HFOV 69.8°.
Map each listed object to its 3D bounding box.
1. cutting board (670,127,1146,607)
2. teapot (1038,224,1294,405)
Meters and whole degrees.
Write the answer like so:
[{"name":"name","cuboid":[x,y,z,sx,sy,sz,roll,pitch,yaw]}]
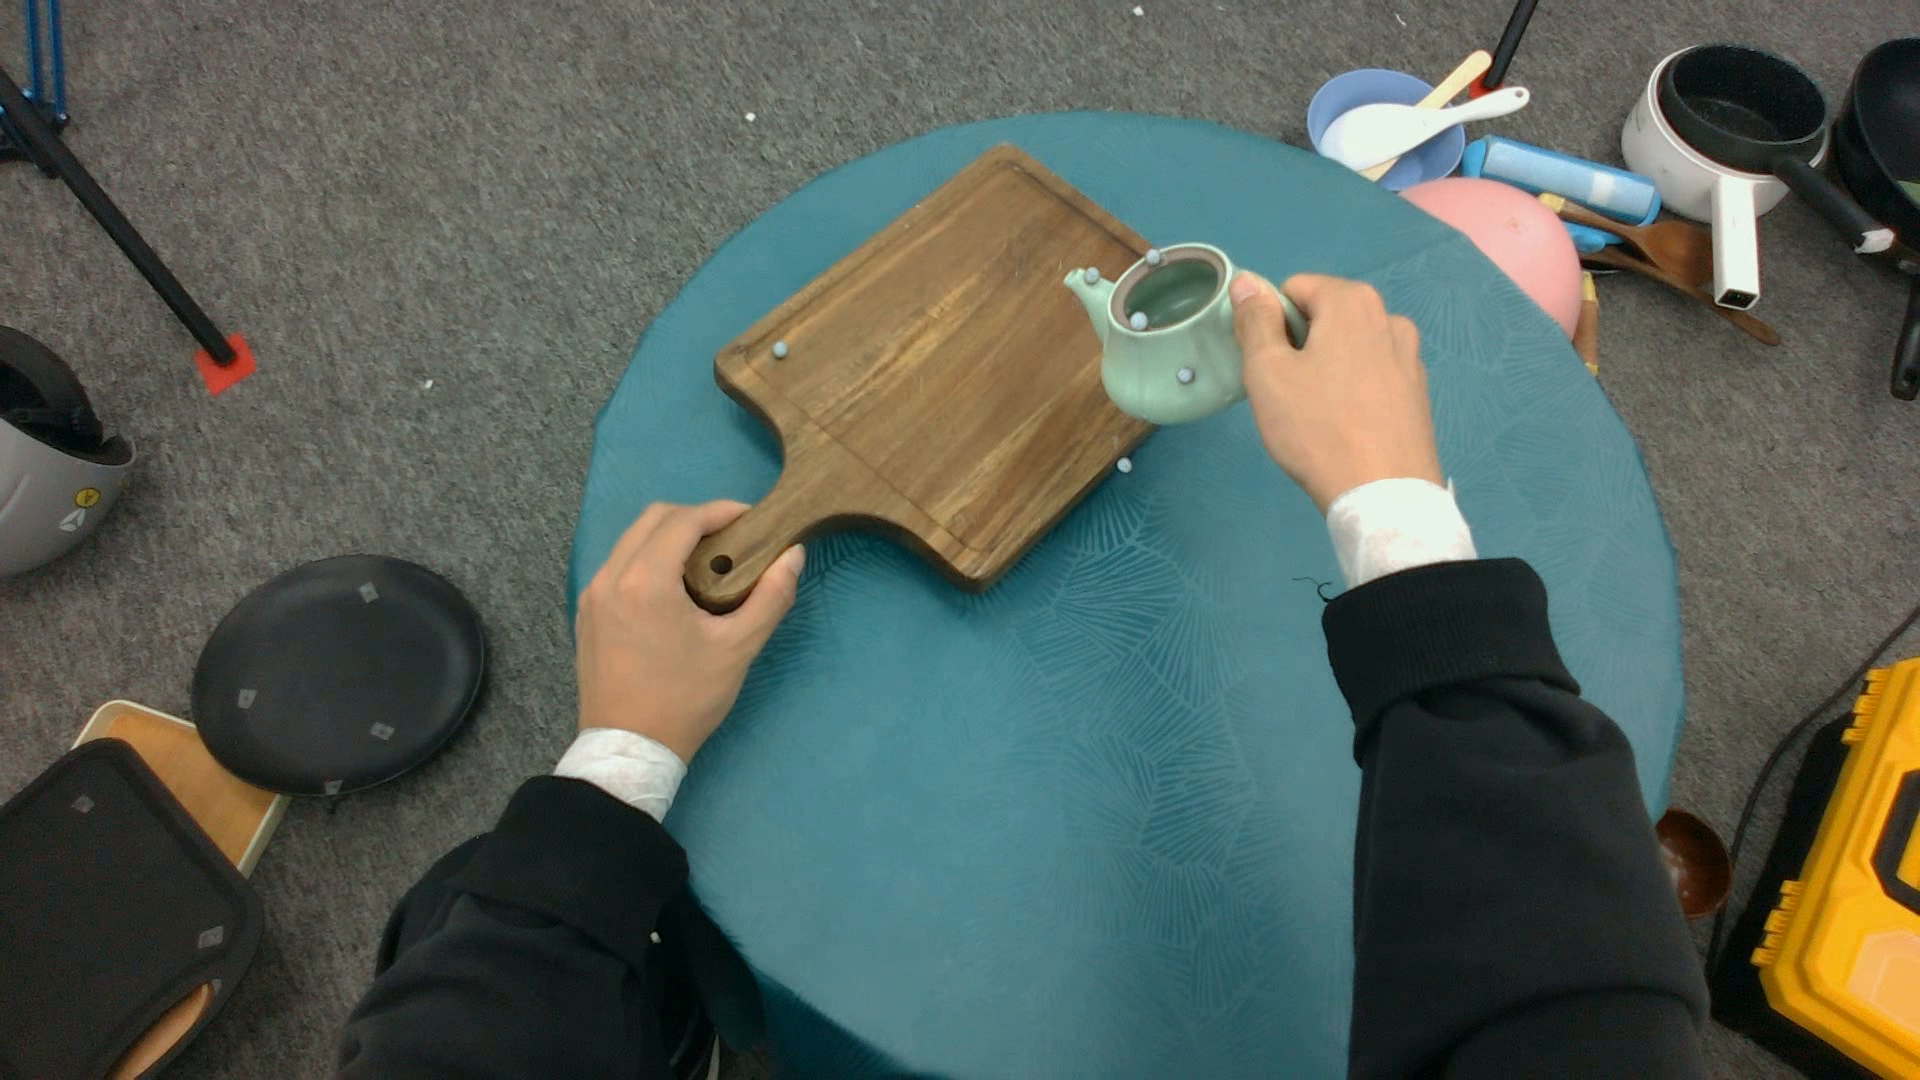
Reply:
[{"name":"cutting board","cuboid":[-0.025,-0.087,0.749,0.201,0.023,0.353,38,61,14]},{"name":"teapot","cuboid":[0.103,-0.113,0.669,0.137,0.061,0.096,13,62,43]}]
